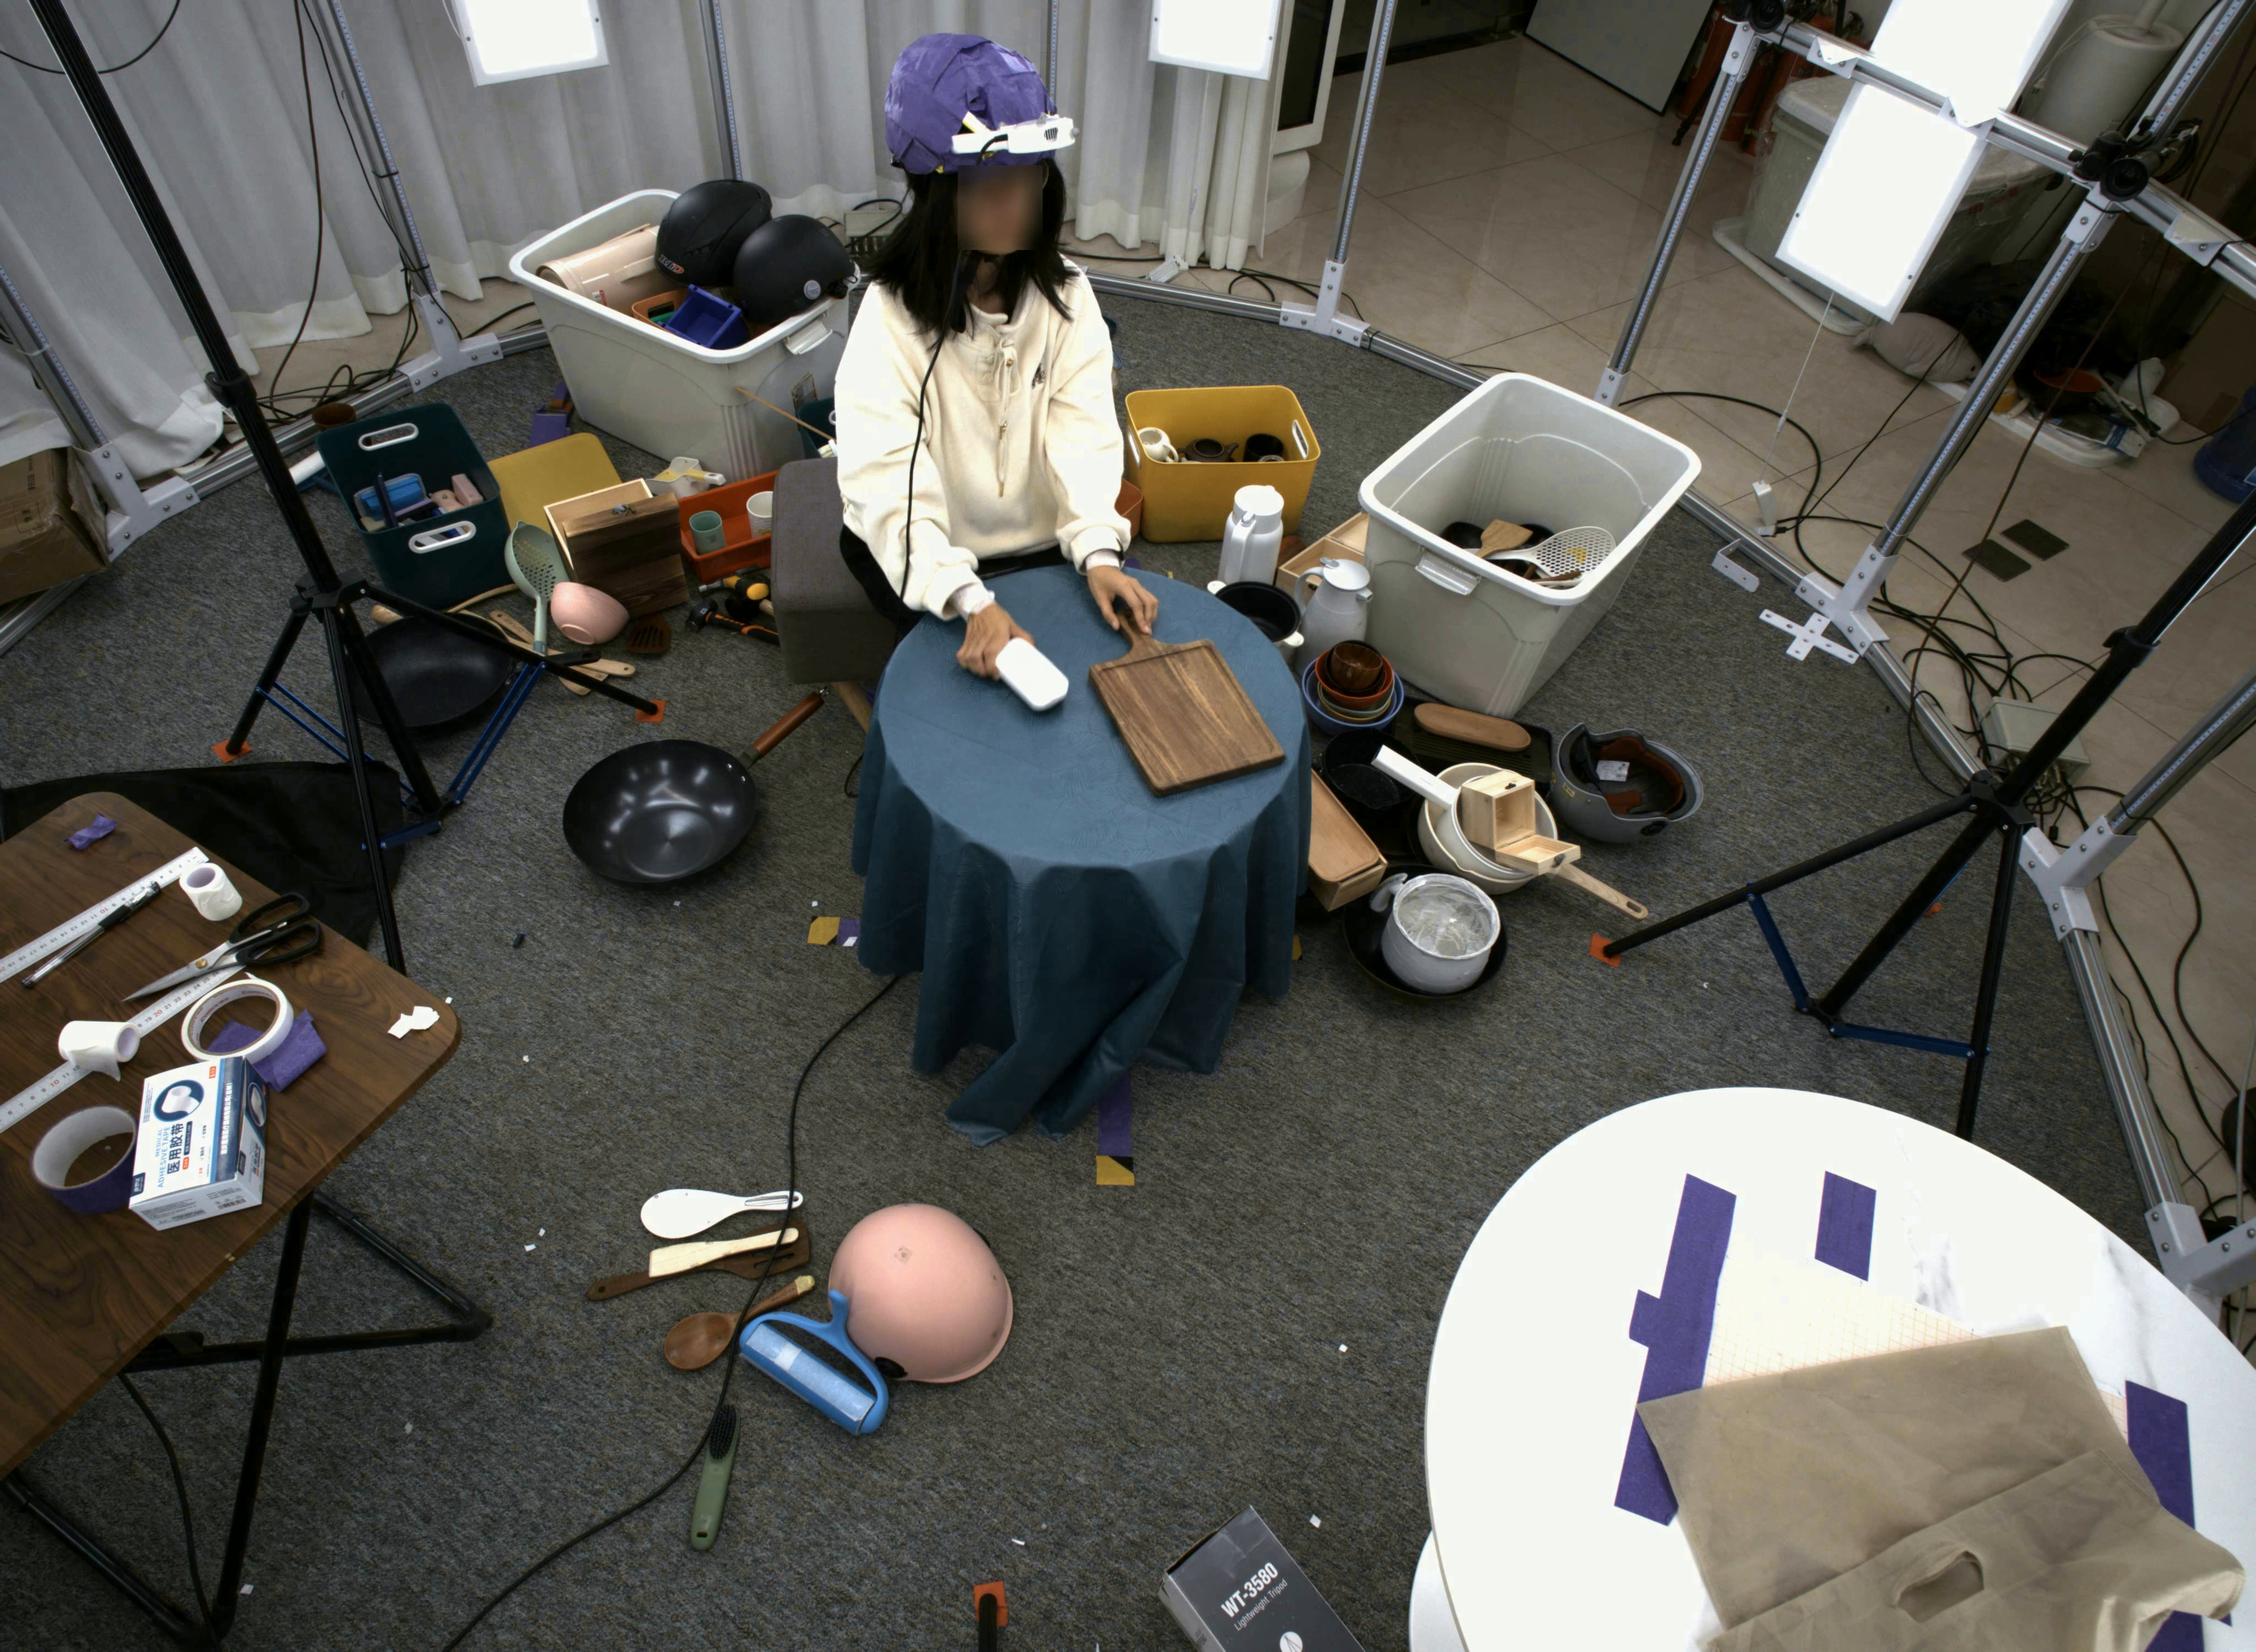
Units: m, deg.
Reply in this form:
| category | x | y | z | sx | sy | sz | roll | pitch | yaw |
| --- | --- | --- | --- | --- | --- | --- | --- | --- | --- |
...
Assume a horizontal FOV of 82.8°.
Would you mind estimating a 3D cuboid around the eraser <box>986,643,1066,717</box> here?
| category | x | y | z | sx | sy | sz | roll | pitch | yaw |
| --- | --- | --- | --- | --- | --- | --- | --- | --- | --- |
| eraser | -0.143 | -0.210 | 1.815 | 0.064 | 0.034 | 0.134 | -28 | 57 | -24 |

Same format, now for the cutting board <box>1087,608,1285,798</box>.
| category | x | y | z | sx | sy | sz | roll | pitch | yaw |
| --- | --- | --- | --- | --- | --- | --- | --- | --- | --- |
| cutting board | 0.060 | -0.193 | 1.828 | 0.201 | 0.022 | 0.360 | -15 | 52 | -17 |
